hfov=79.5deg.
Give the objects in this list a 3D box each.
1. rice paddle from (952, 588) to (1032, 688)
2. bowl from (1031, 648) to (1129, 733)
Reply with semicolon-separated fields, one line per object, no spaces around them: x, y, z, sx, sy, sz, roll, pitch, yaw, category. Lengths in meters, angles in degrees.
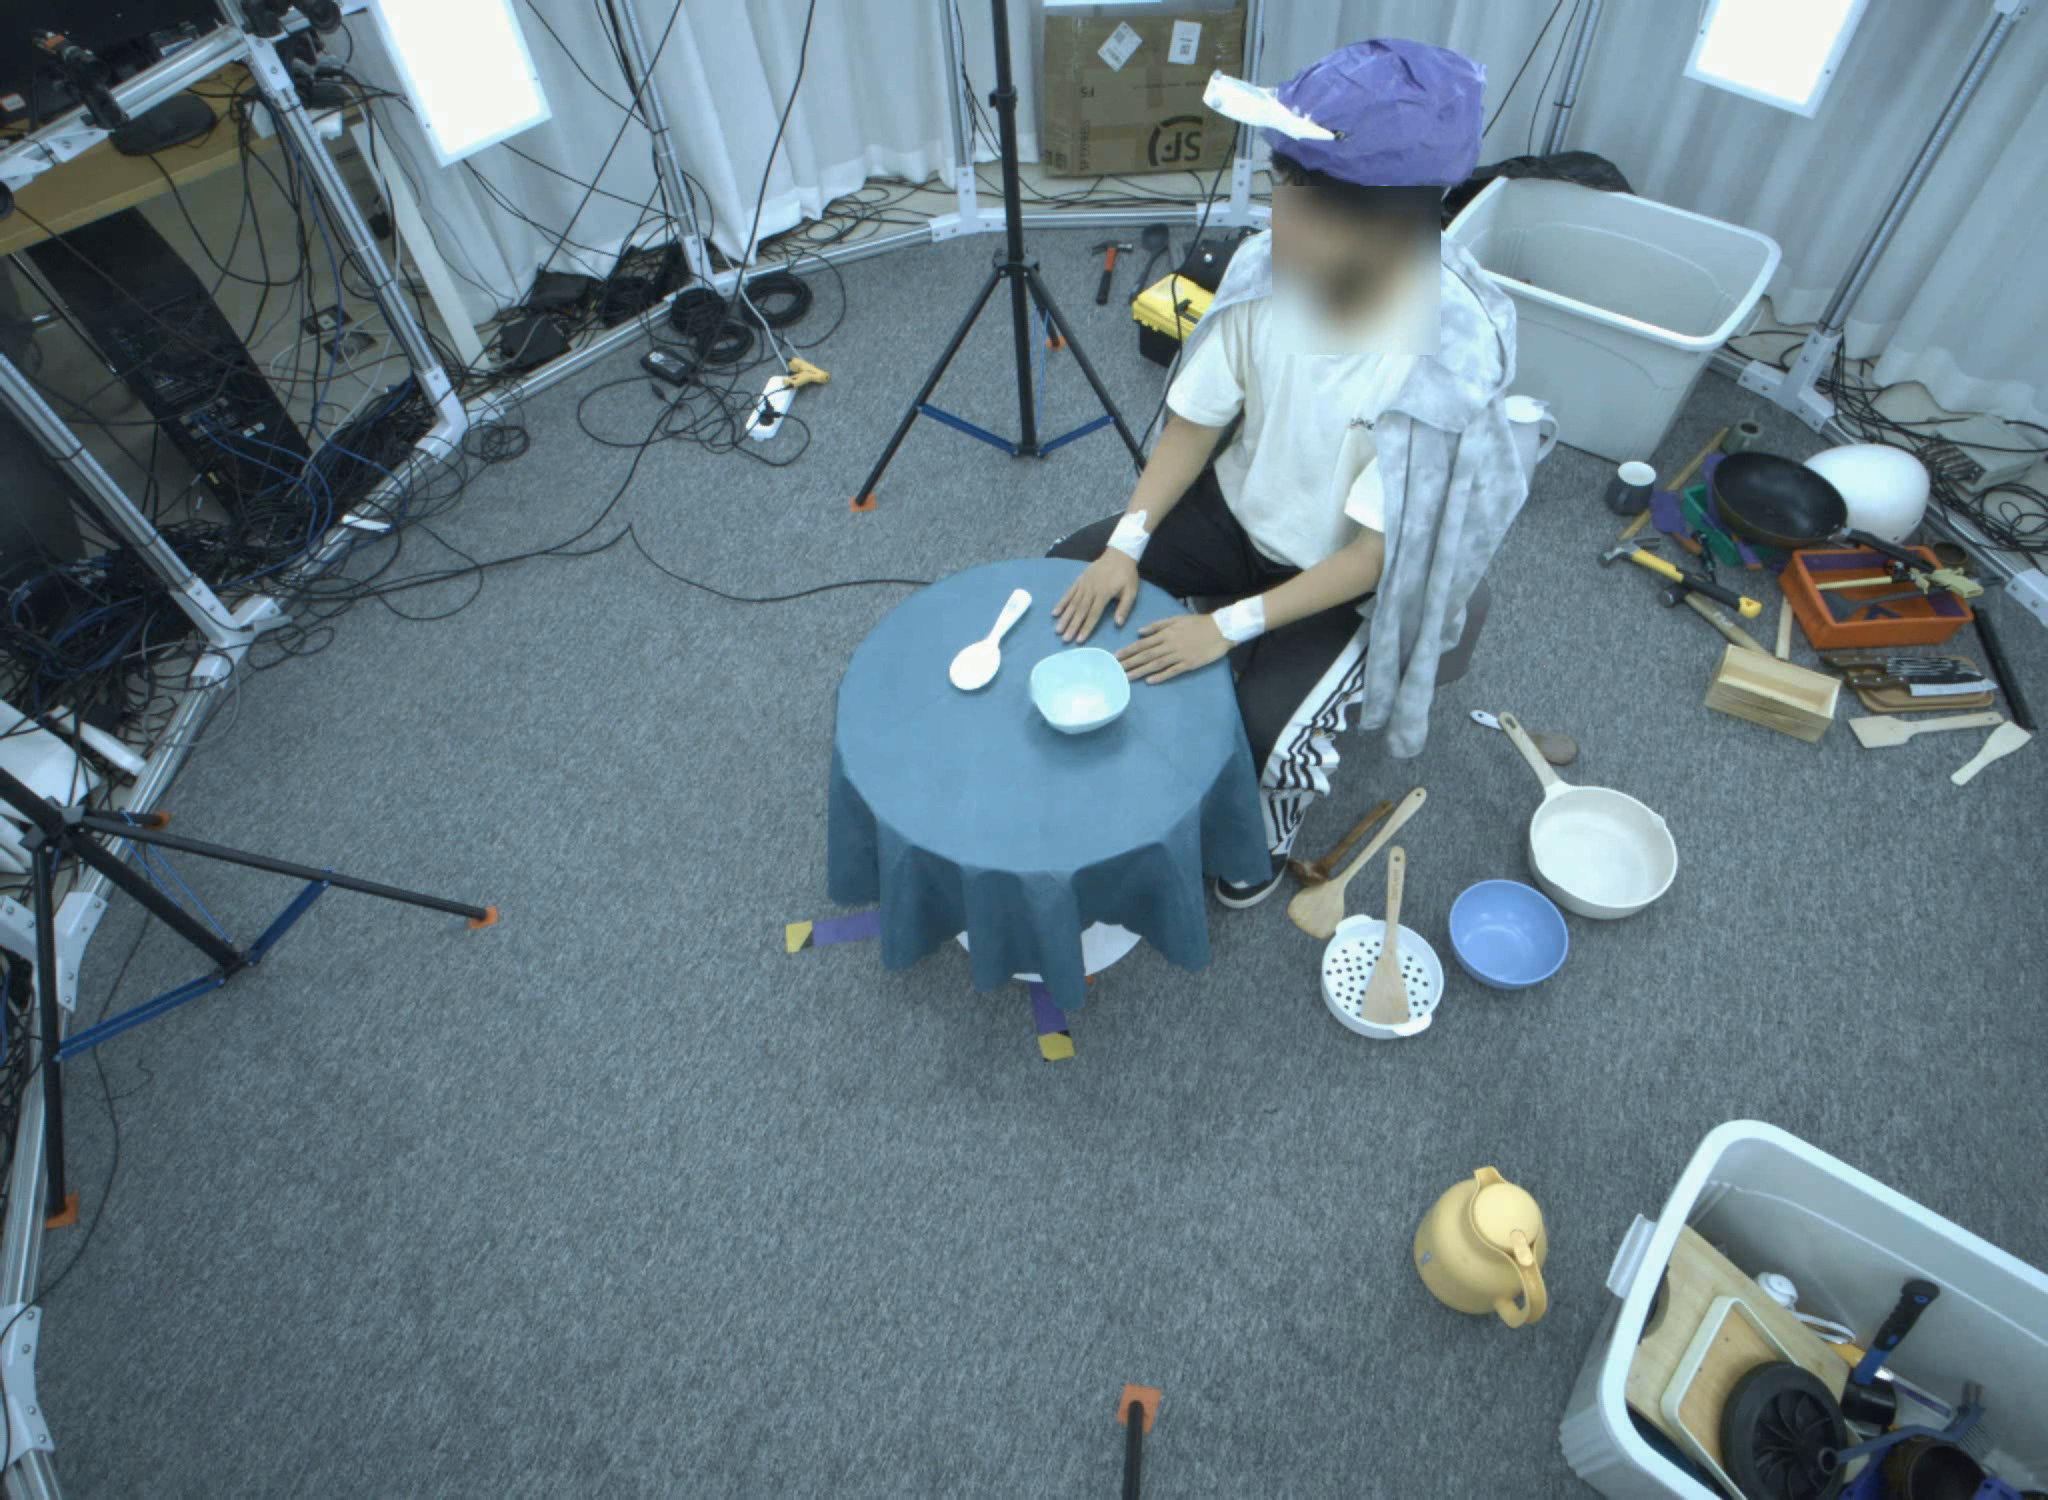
-0.046;-0.171;1.894;0.068;0.030;0.205;20;58;18;rice paddle
0.083;-0.077;1.807;0.151;0.059;0.150;-2;55;4;bowl
